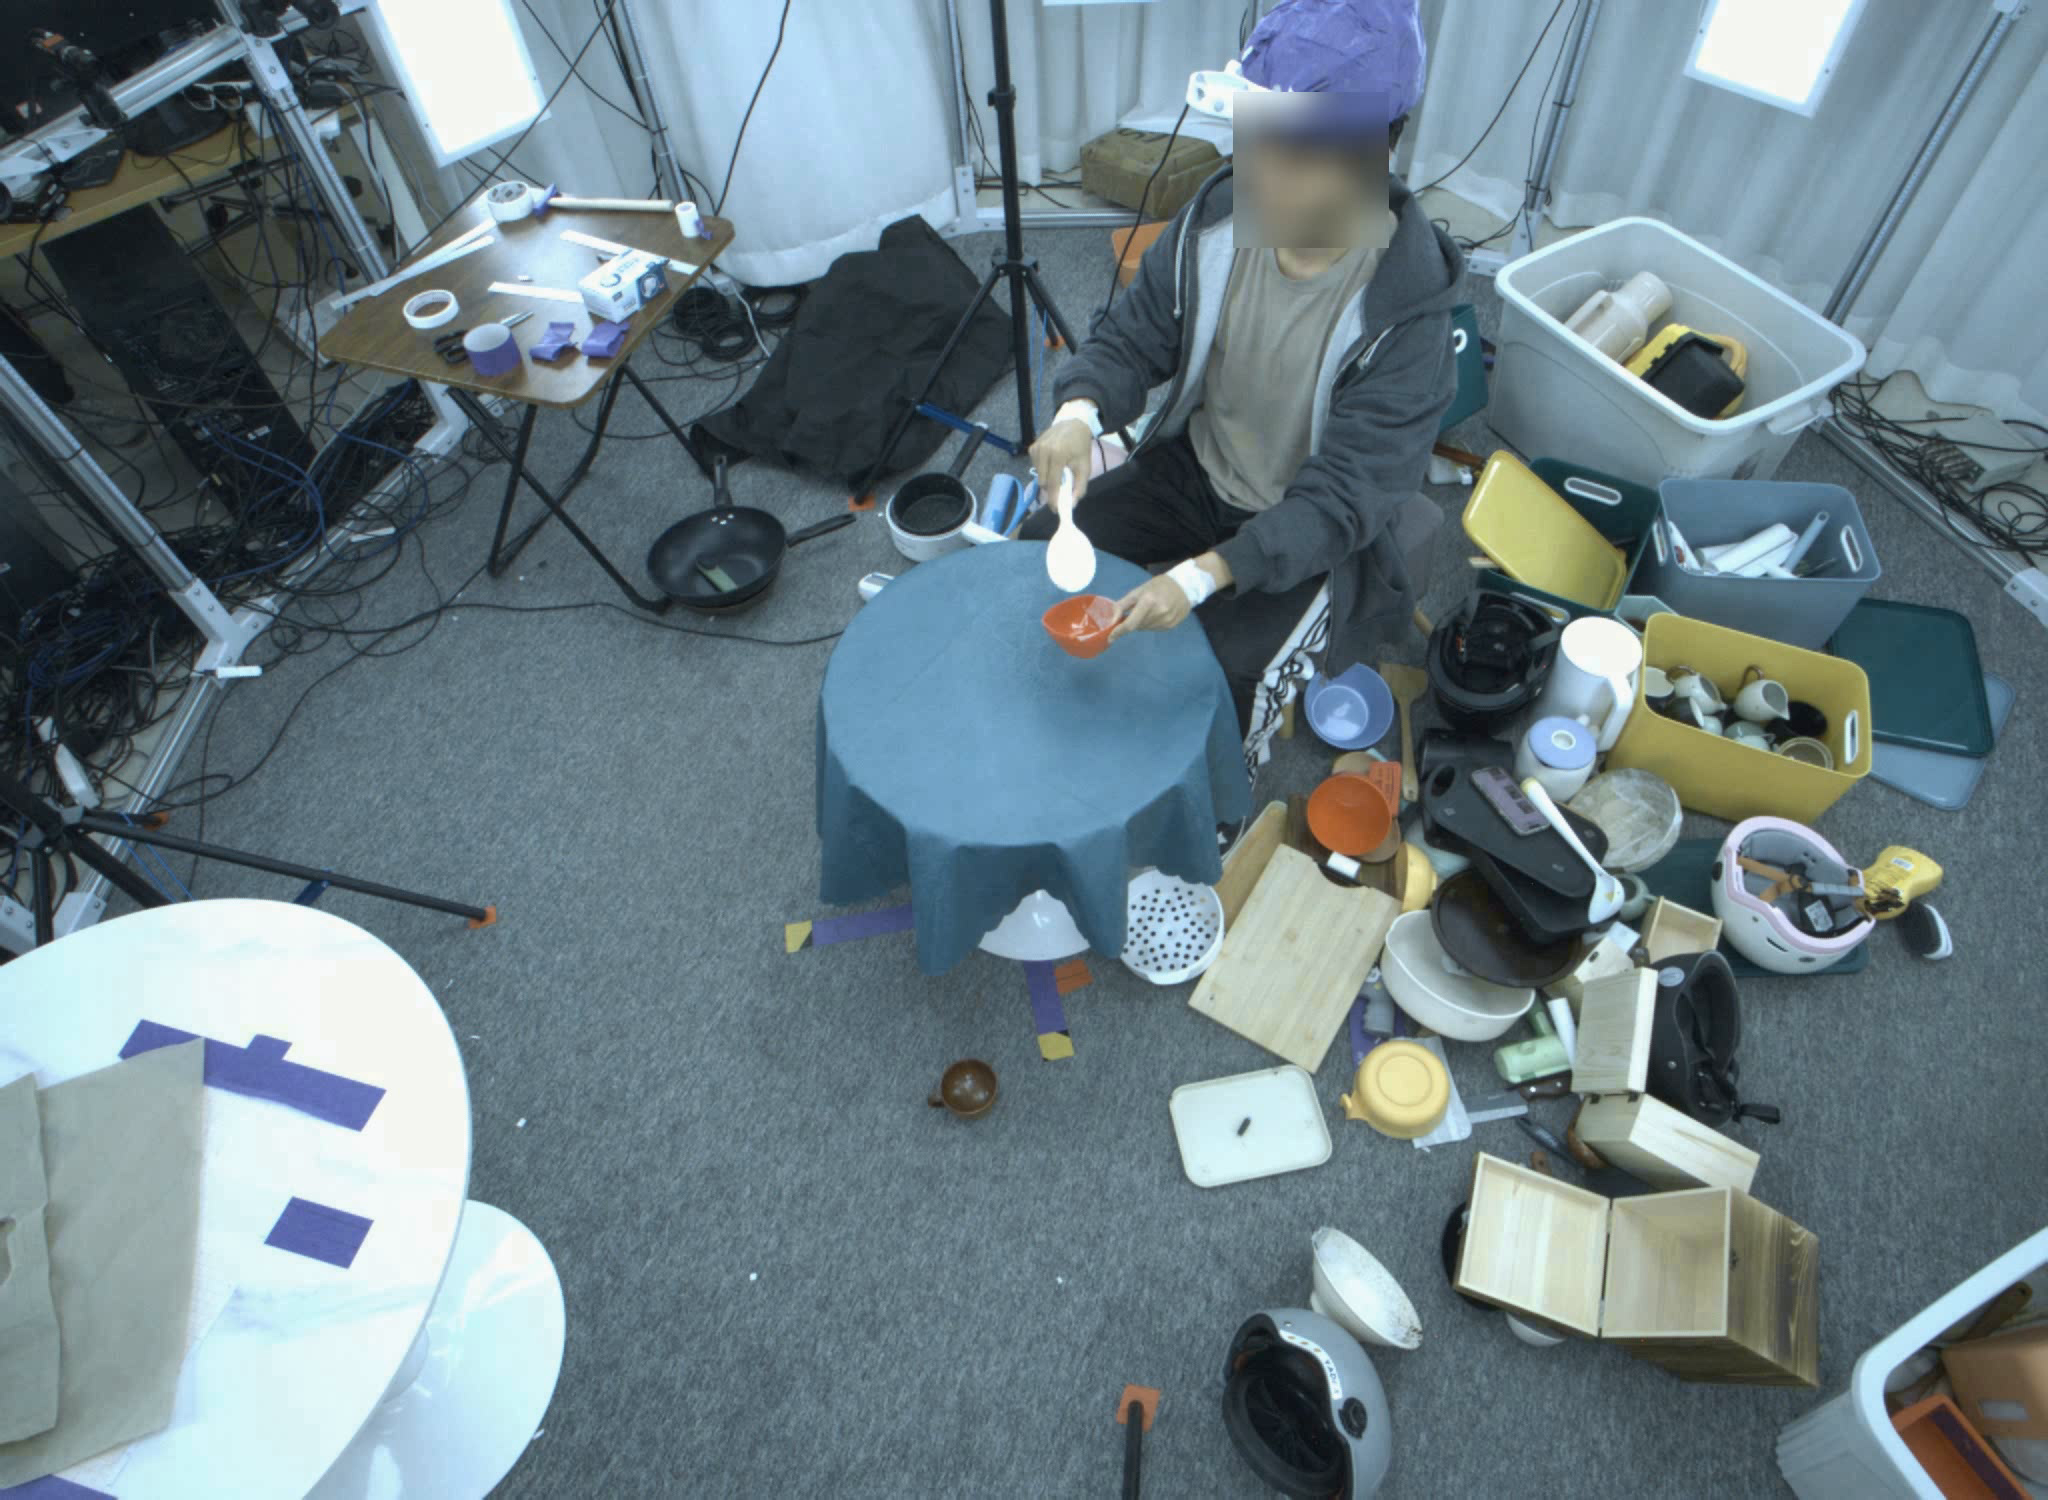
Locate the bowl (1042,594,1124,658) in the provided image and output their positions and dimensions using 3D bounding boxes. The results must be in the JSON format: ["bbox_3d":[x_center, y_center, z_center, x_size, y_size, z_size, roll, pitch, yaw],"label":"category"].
[{"bbox_3d":[0.088,-0.176,1.788,0.118,0.052,0.117,-5,38,5],"label":"bowl"}]

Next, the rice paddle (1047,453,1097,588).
[{"bbox_3d":[0.061,-0.331,1.767,0.069,0.029,0.204,-8,81,2],"label":"rice paddle"}]
